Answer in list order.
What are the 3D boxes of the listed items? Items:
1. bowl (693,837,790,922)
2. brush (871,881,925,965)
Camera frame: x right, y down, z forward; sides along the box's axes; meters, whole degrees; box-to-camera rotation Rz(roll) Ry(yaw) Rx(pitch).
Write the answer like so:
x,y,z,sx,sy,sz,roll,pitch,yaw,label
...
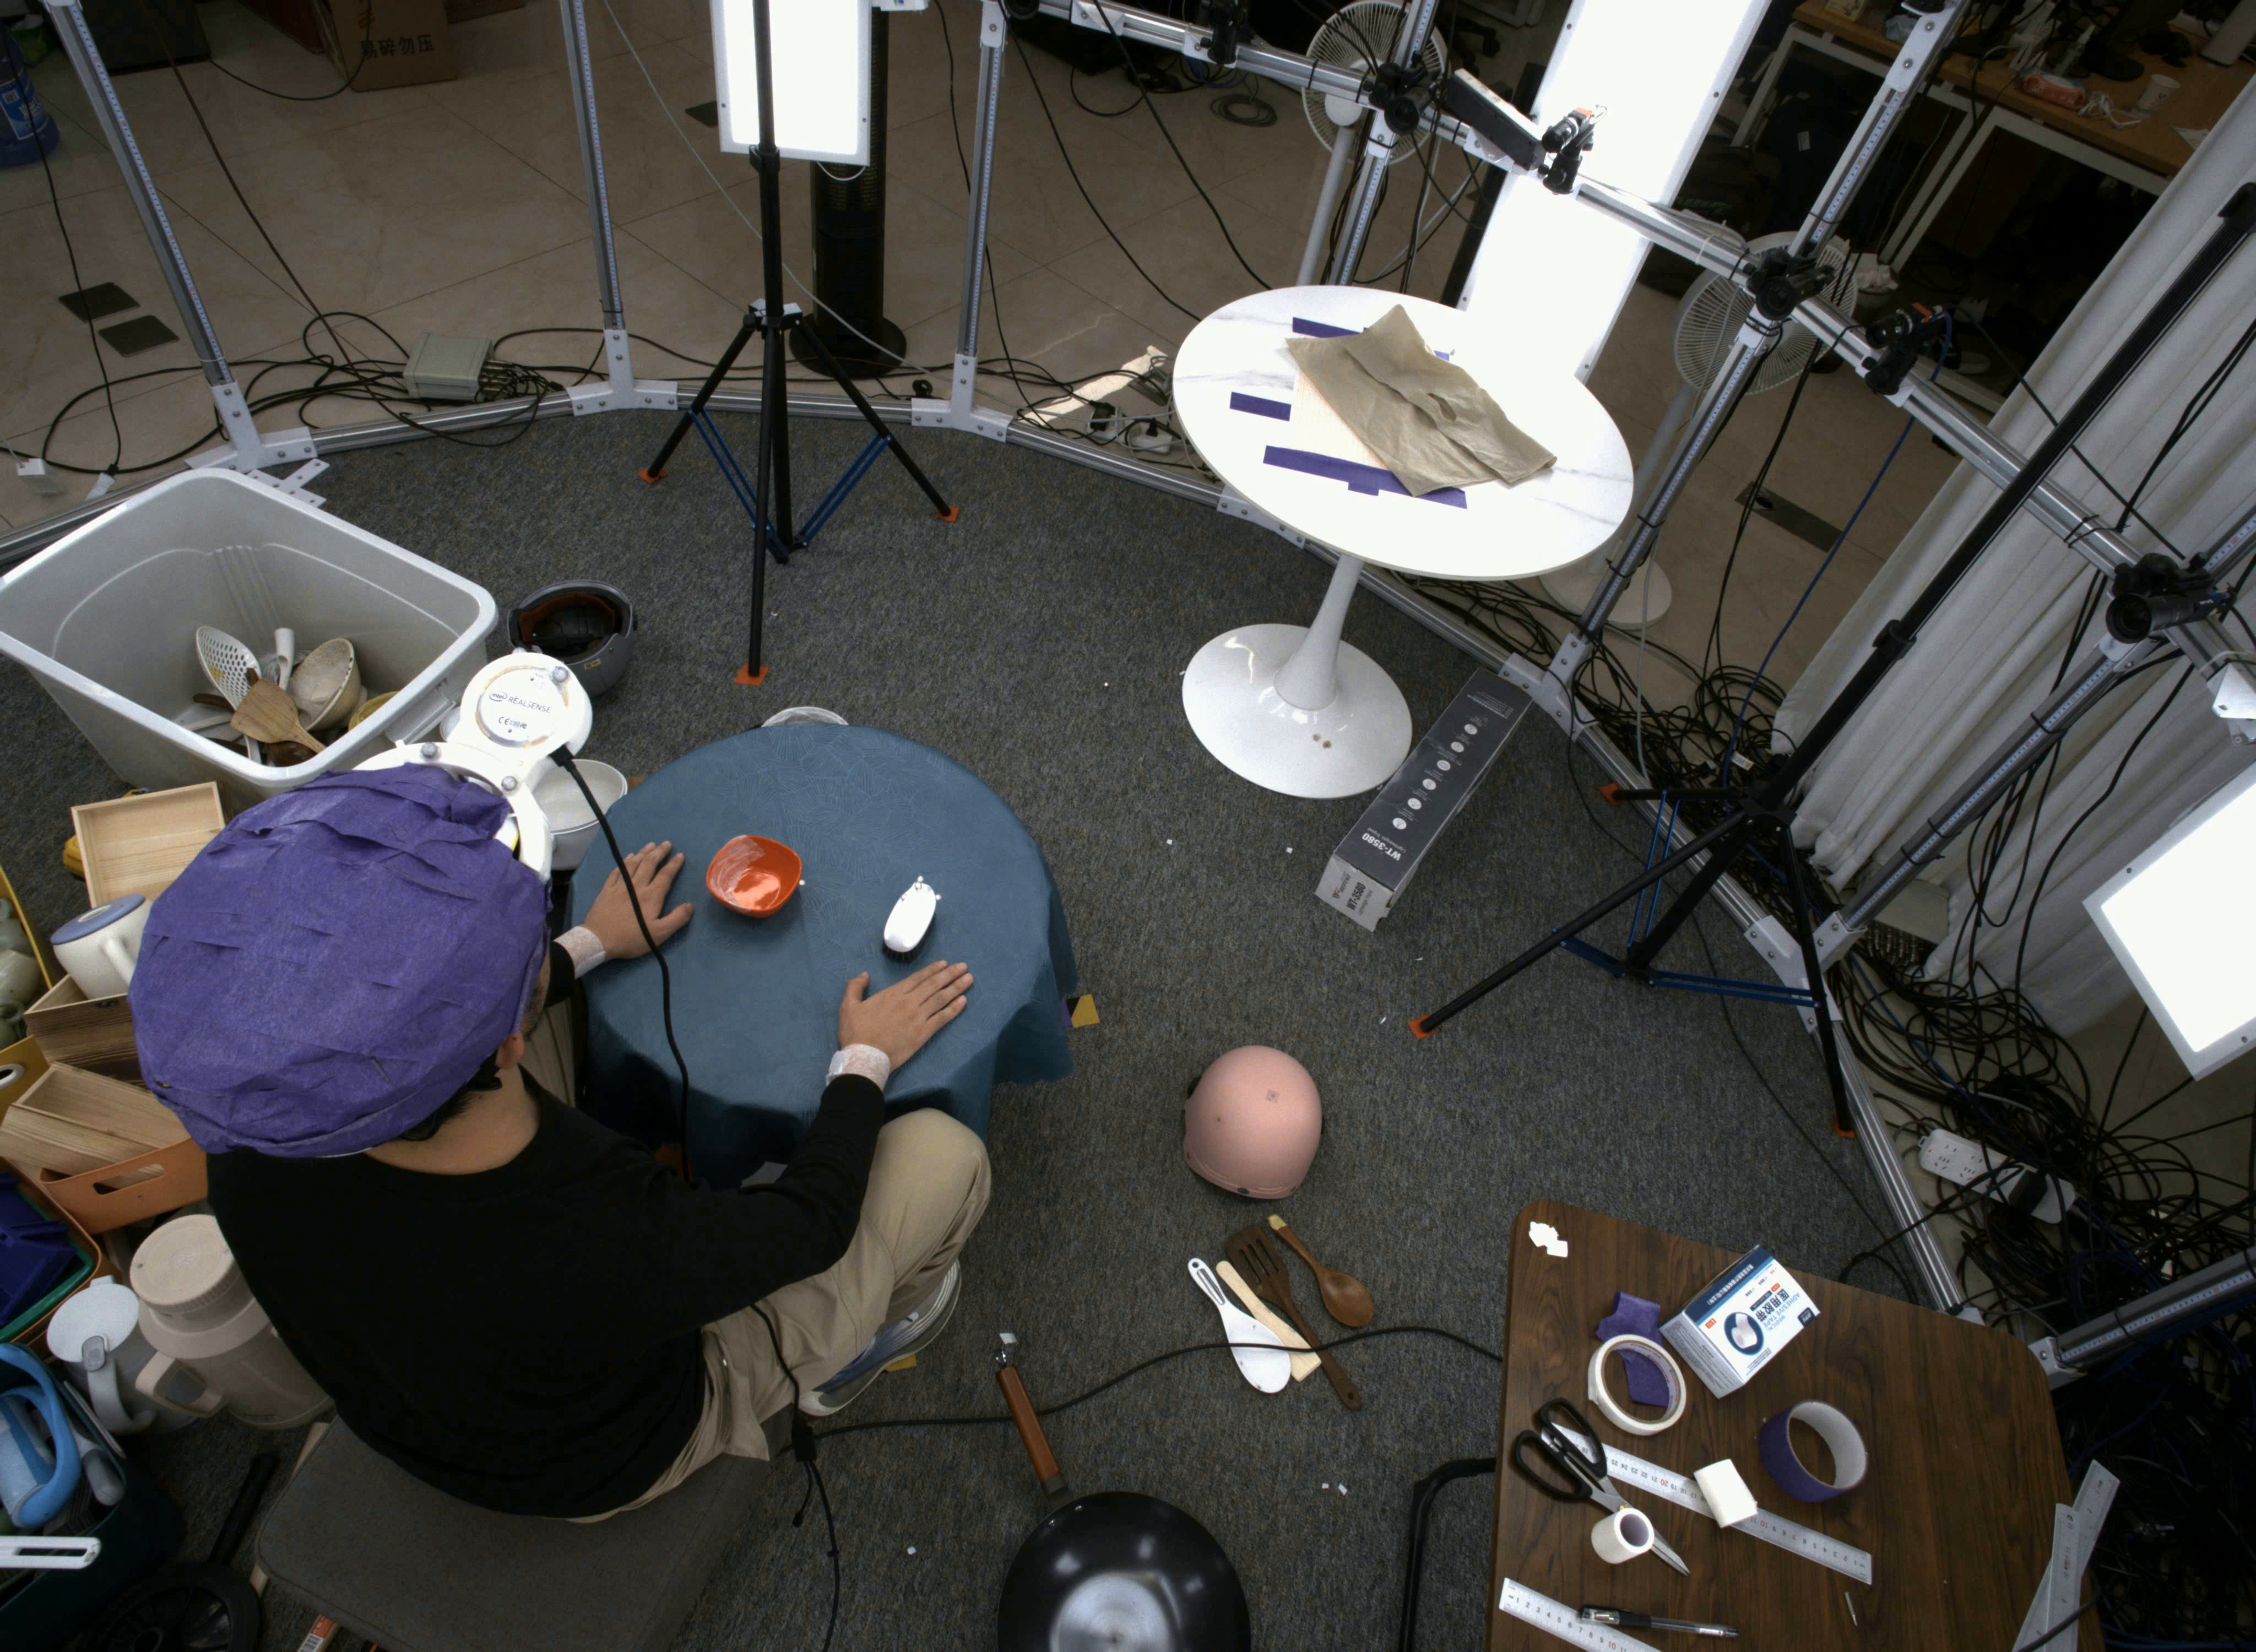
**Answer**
x,y,z,sx,sy,sz,roll,pitch,yaw,label
-0.482,0.073,1.615,0.119,0.052,0.117,9,51,-10,bowl
-0.286,0.112,1.623,0.050,0.074,0.098,20,51,4,brush
